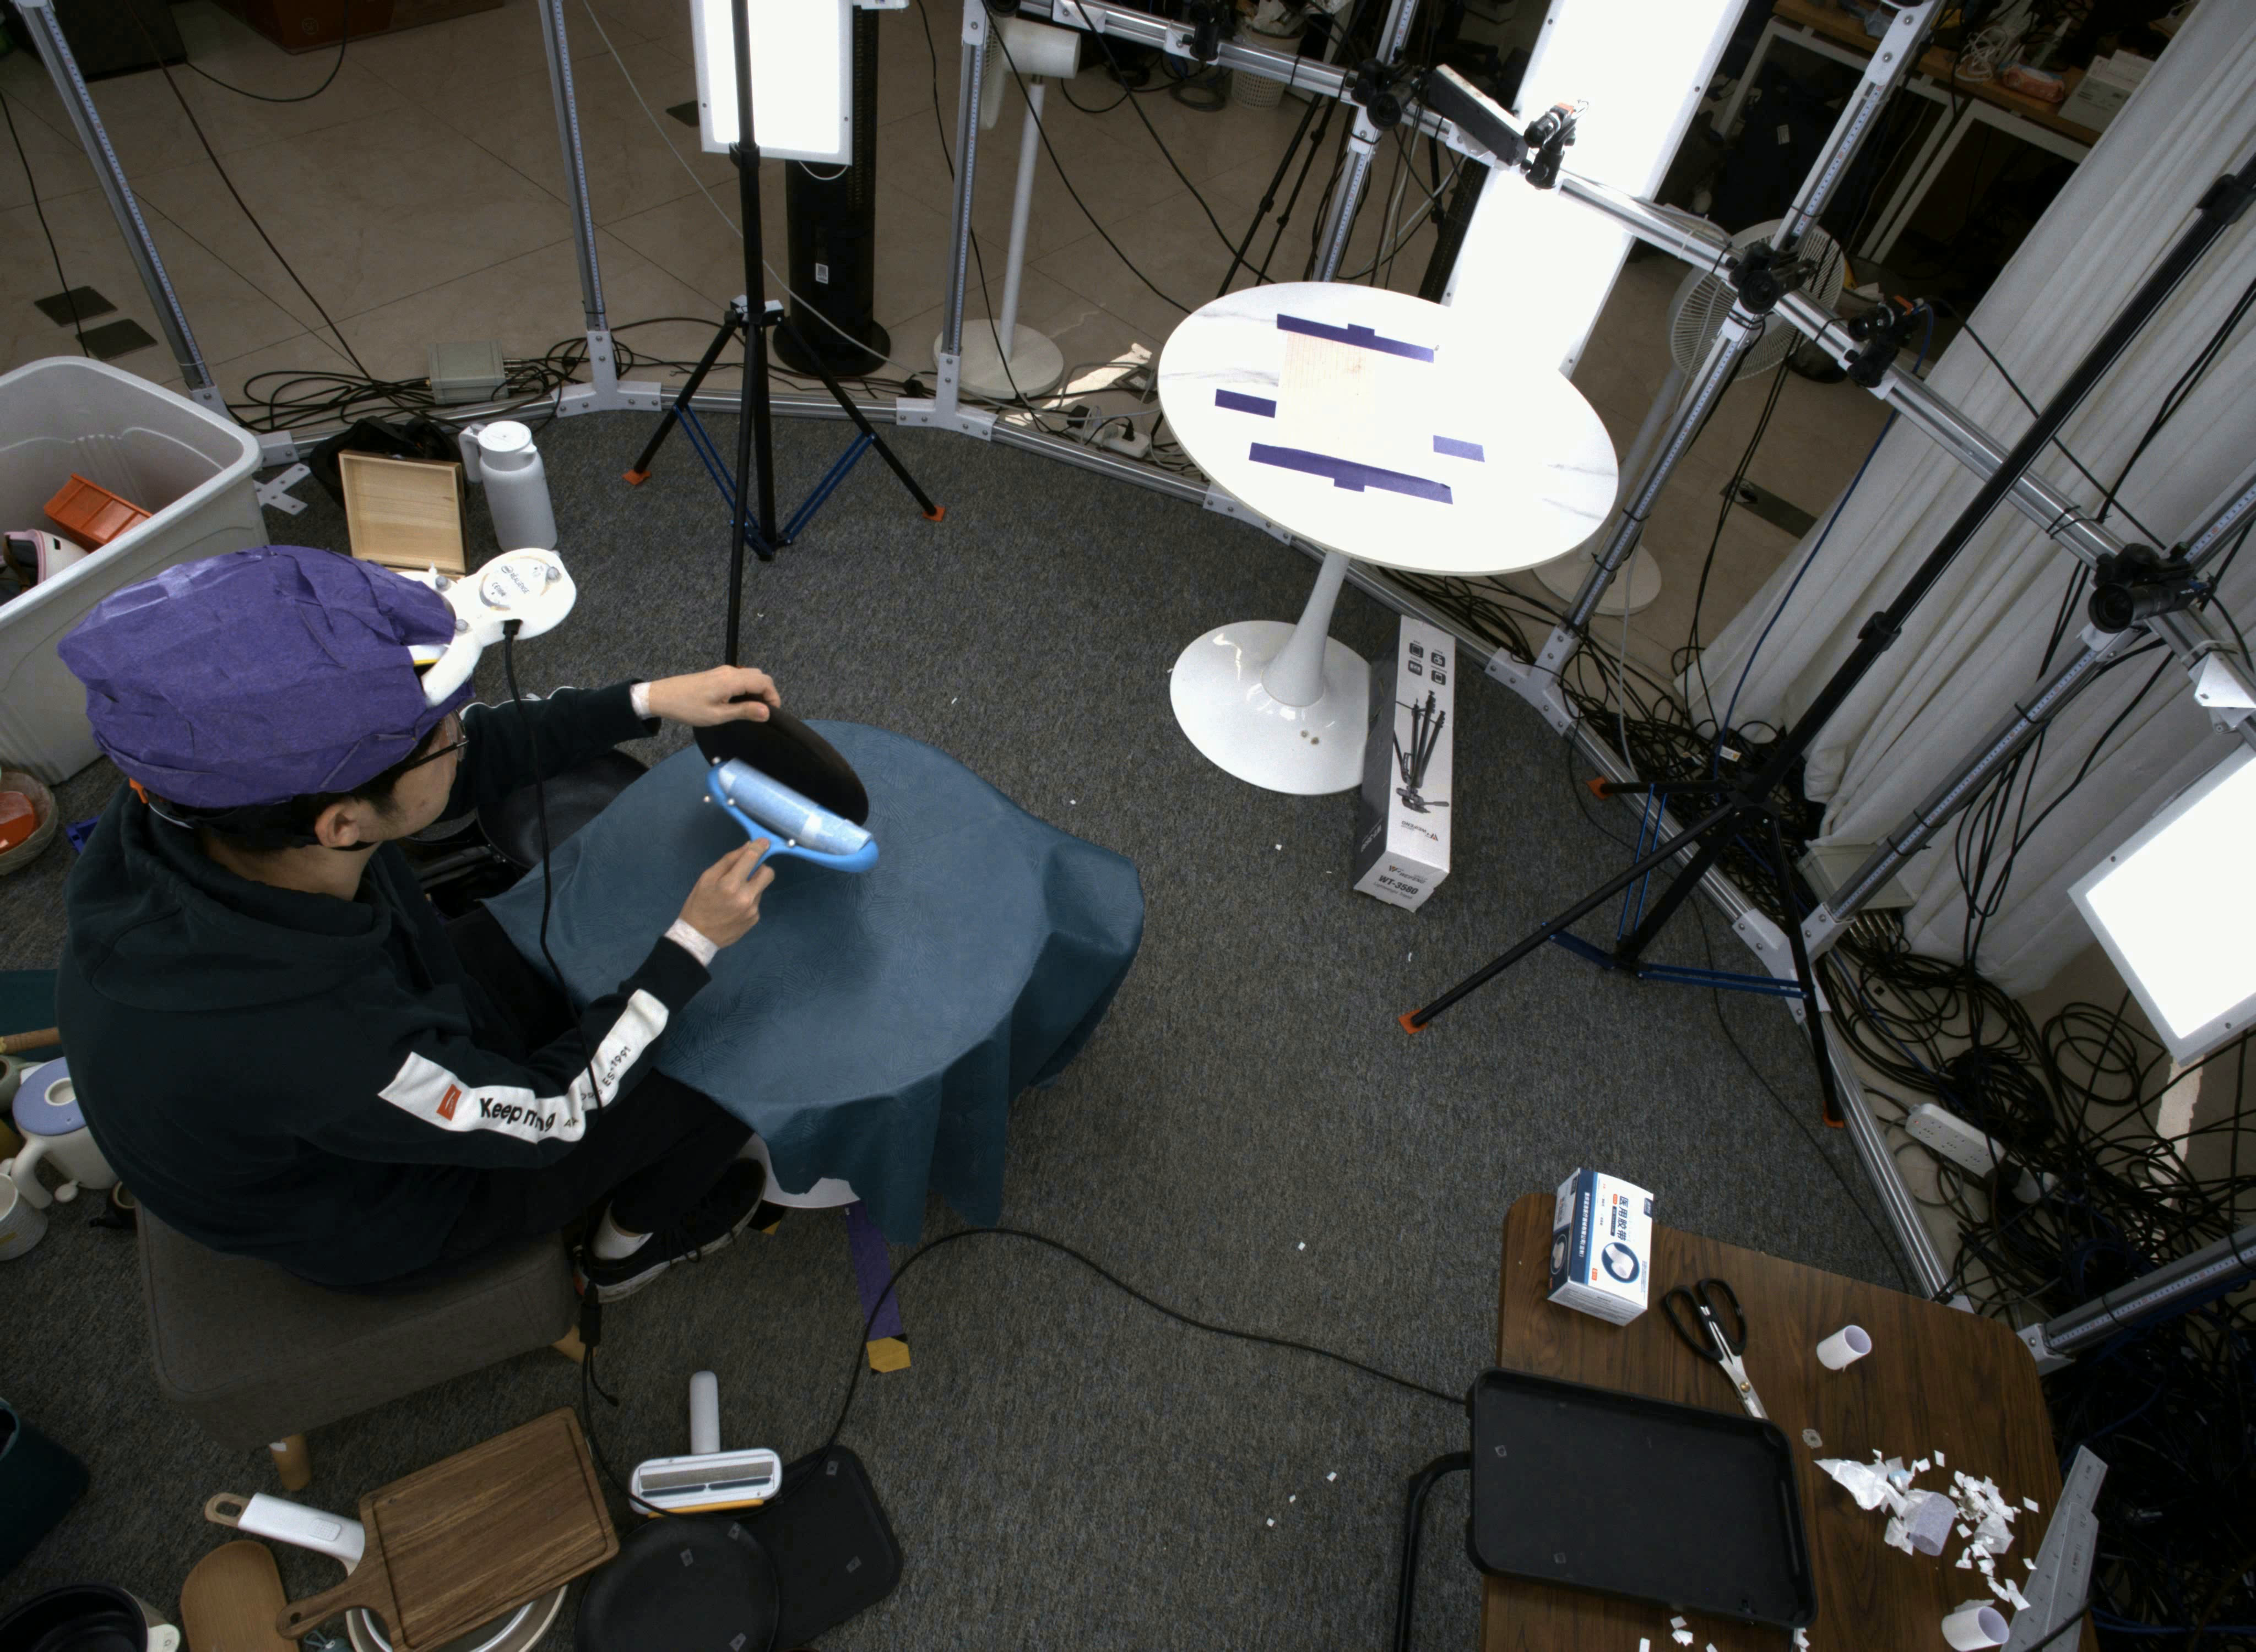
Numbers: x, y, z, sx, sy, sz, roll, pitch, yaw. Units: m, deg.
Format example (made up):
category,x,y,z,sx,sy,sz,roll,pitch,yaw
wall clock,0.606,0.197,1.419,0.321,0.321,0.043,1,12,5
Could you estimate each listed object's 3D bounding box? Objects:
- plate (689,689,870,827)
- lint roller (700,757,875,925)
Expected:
category,x,y,z,sx,sy,sz,roll,pitch,yaw
plate,-0.441,-0.074,1.620,0.251,0.260,0.029,22,57,5
lint roller,-0.430,0.031,1.528,0.229,0.068,0.179,28,59,-6
